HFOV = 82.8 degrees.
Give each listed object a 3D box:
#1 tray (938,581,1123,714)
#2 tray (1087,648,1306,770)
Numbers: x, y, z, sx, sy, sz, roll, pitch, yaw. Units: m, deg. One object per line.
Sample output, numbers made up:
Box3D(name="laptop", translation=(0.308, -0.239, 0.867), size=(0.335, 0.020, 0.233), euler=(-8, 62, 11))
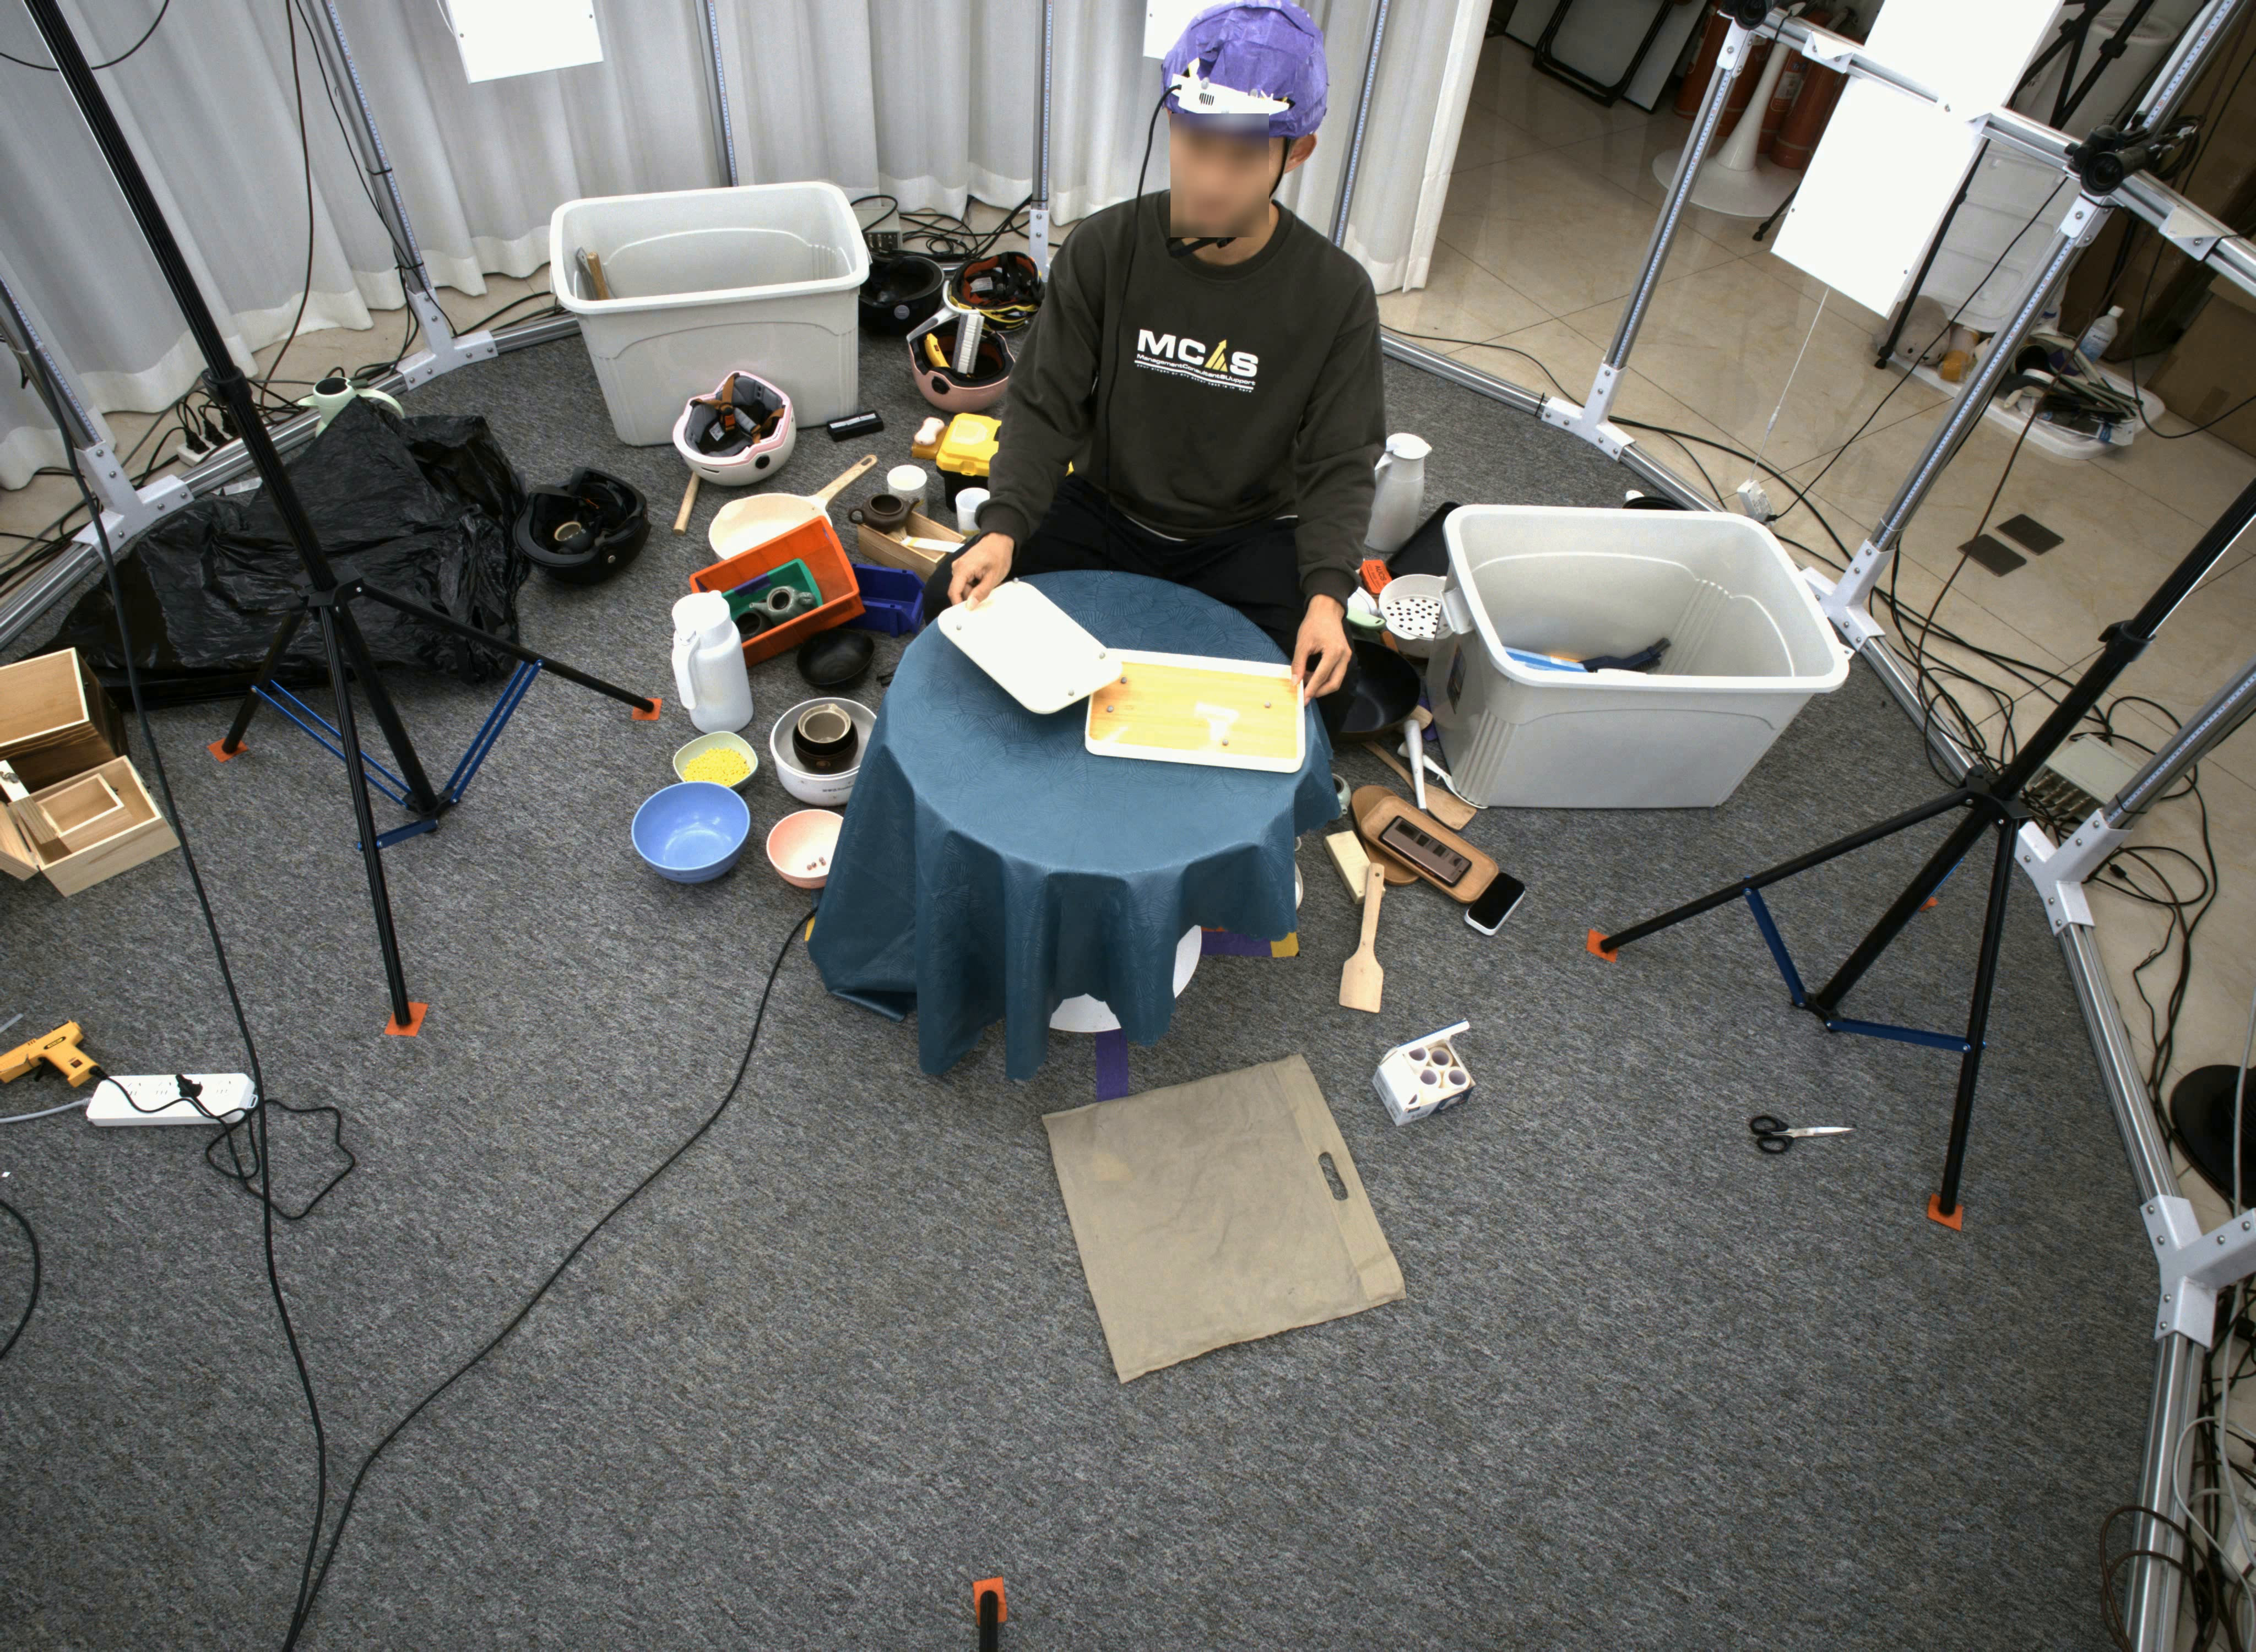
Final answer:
Box3D(name="tray", translation=(-0.136, -0.251, 1.795), size=(0.172, 0.017, 0.243), euler=(-31, 60, -32))
Box3D(name="tray", translation=(0.097, -0.166, 1.799), size=(0.300, 0.027, 0.196), euler=(5, 48, 0))
